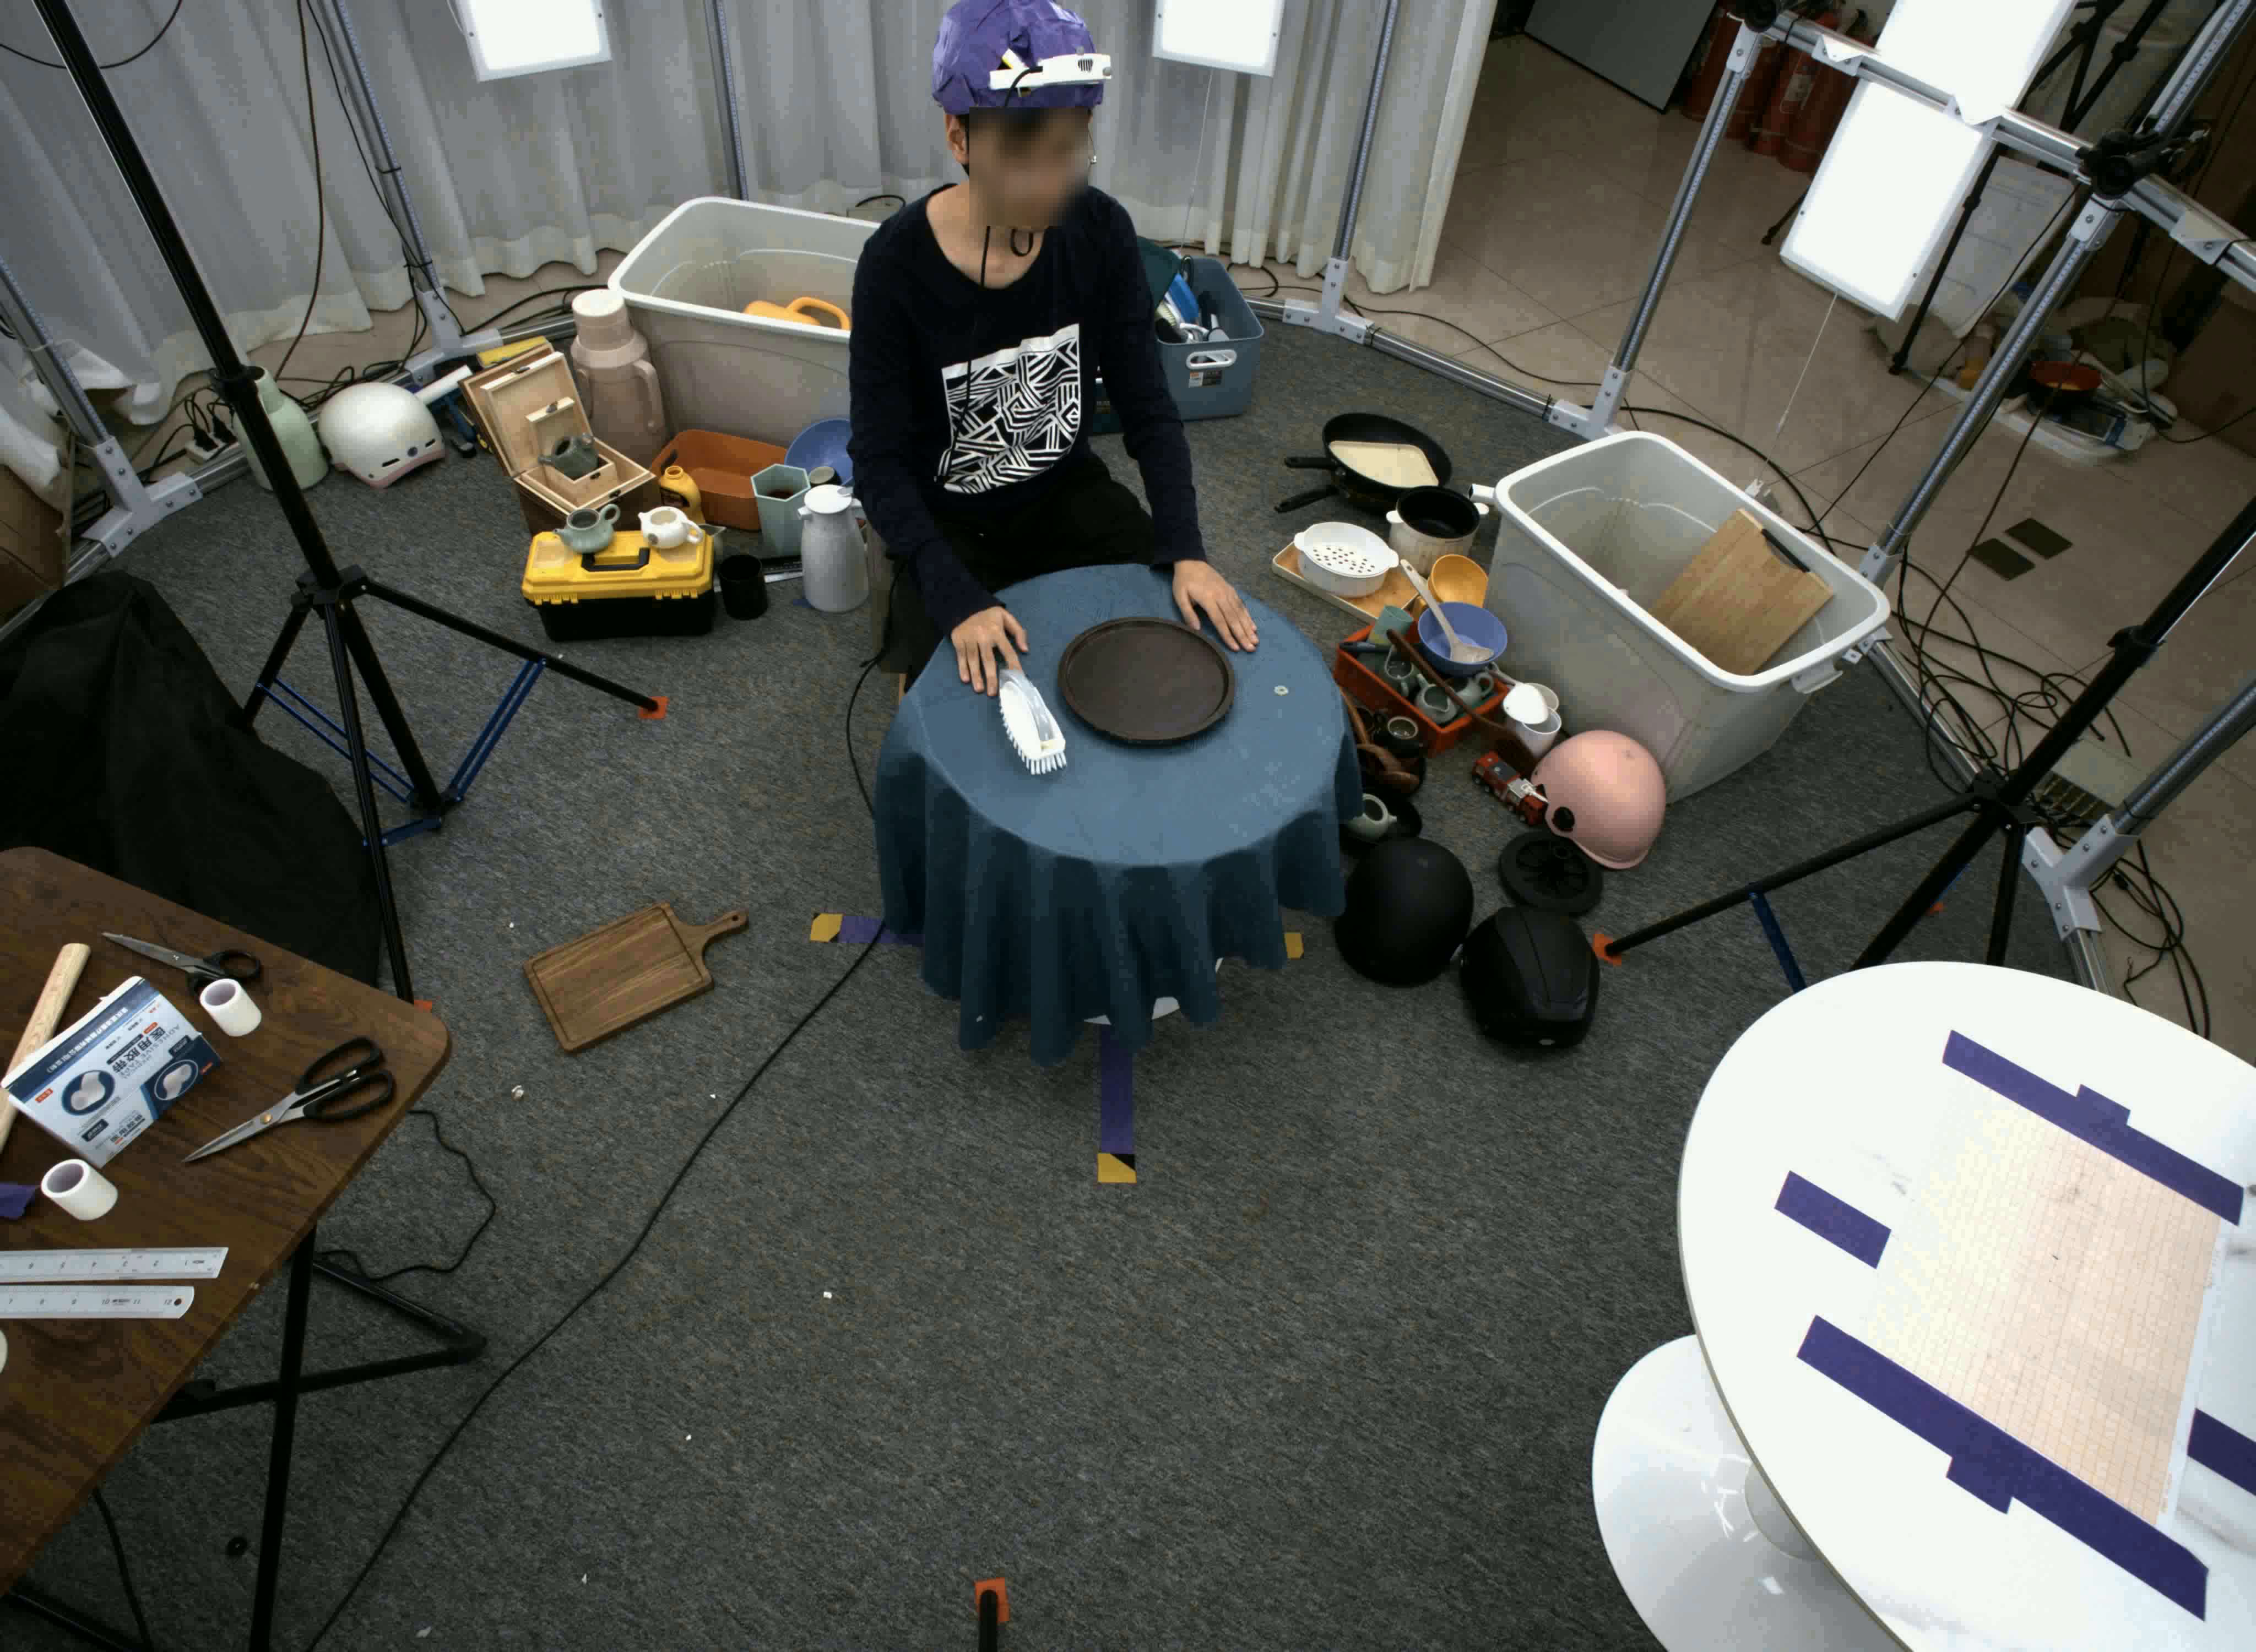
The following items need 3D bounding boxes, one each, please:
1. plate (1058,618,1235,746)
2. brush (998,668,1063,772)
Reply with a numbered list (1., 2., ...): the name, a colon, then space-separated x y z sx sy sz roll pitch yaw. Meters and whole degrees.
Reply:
1. plate: 0.026 -0.207 1.835 0.254 0.028 0.261 2 50 -3
2. brush: -0.141 -0.161 1.739 0.061 0.092 0.179 -16 49 -18
